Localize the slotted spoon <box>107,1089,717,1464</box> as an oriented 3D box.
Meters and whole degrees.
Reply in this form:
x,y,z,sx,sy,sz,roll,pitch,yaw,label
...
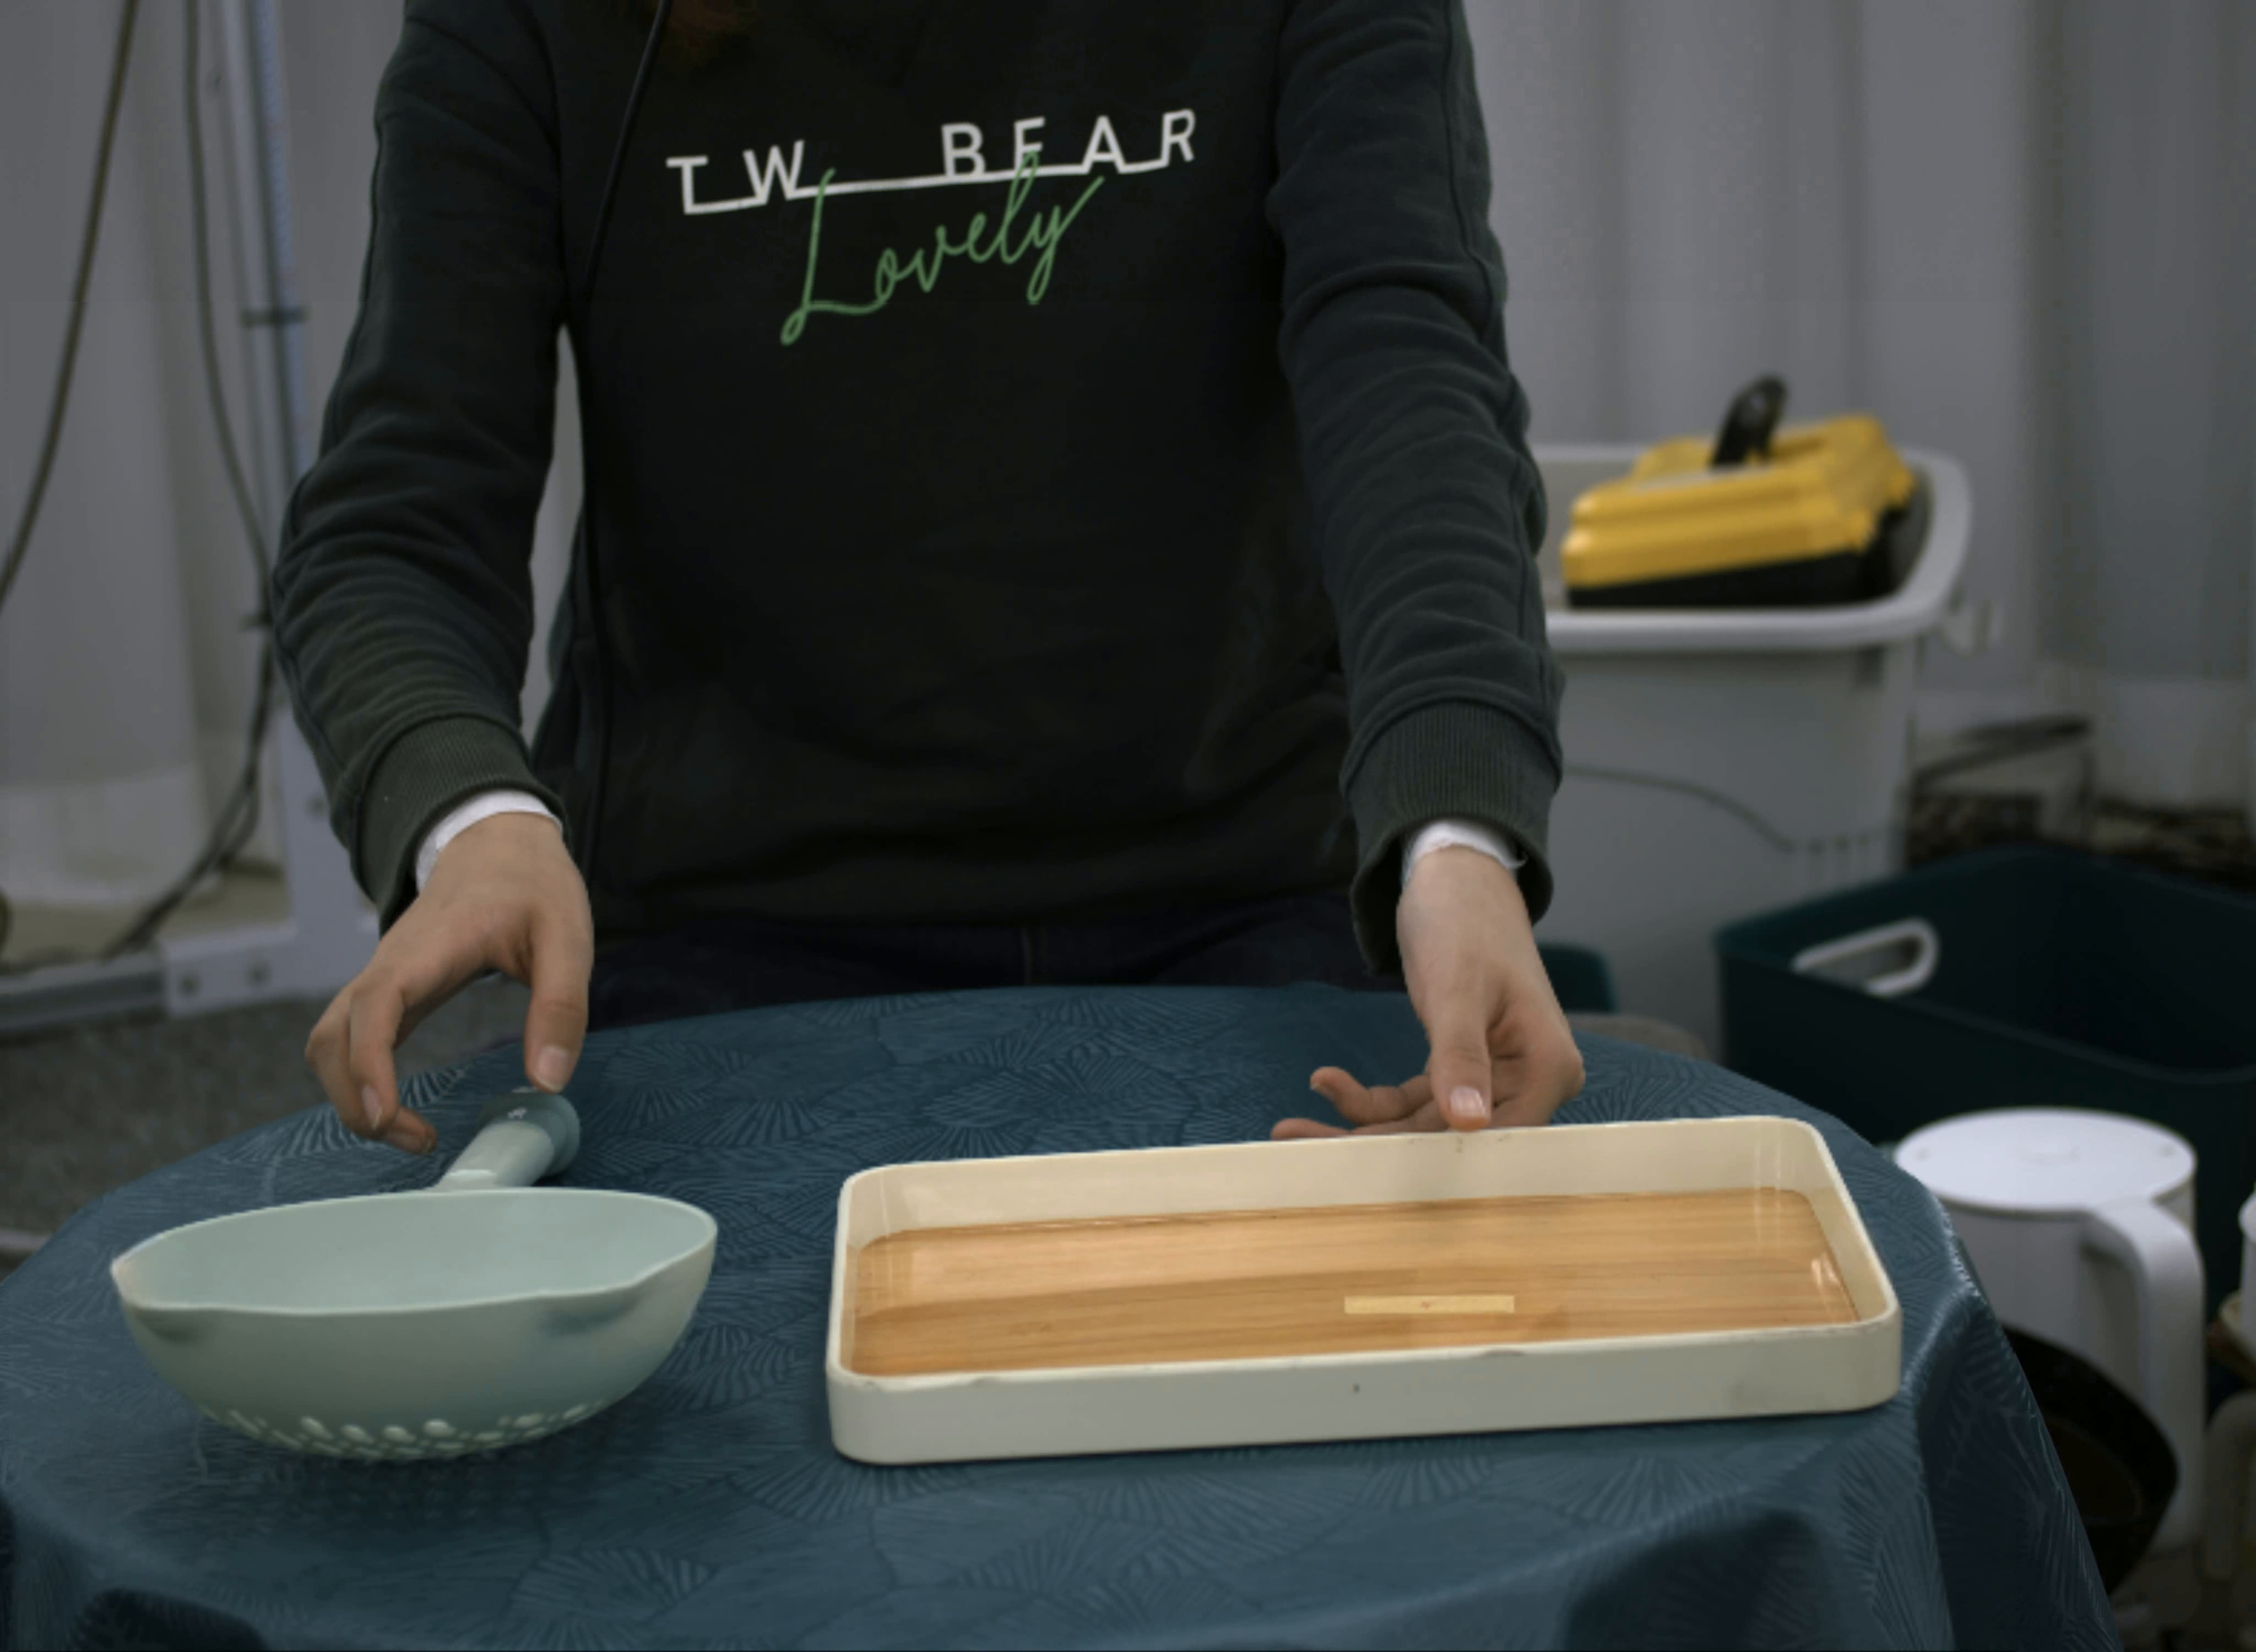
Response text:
x,y,z,sx,sy,sz,roll,pitch,yaw,label
-0.195,0.117,1.618,0.169,0.075,0.361,-2,15,2,slotted spoon

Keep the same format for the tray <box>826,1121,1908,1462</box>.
x,y,z,sx,sy,sz,roll,pitch,yaw,label
0.064,0.133,1.584,0.299,0.027,0.193,-3,15,0,tray
